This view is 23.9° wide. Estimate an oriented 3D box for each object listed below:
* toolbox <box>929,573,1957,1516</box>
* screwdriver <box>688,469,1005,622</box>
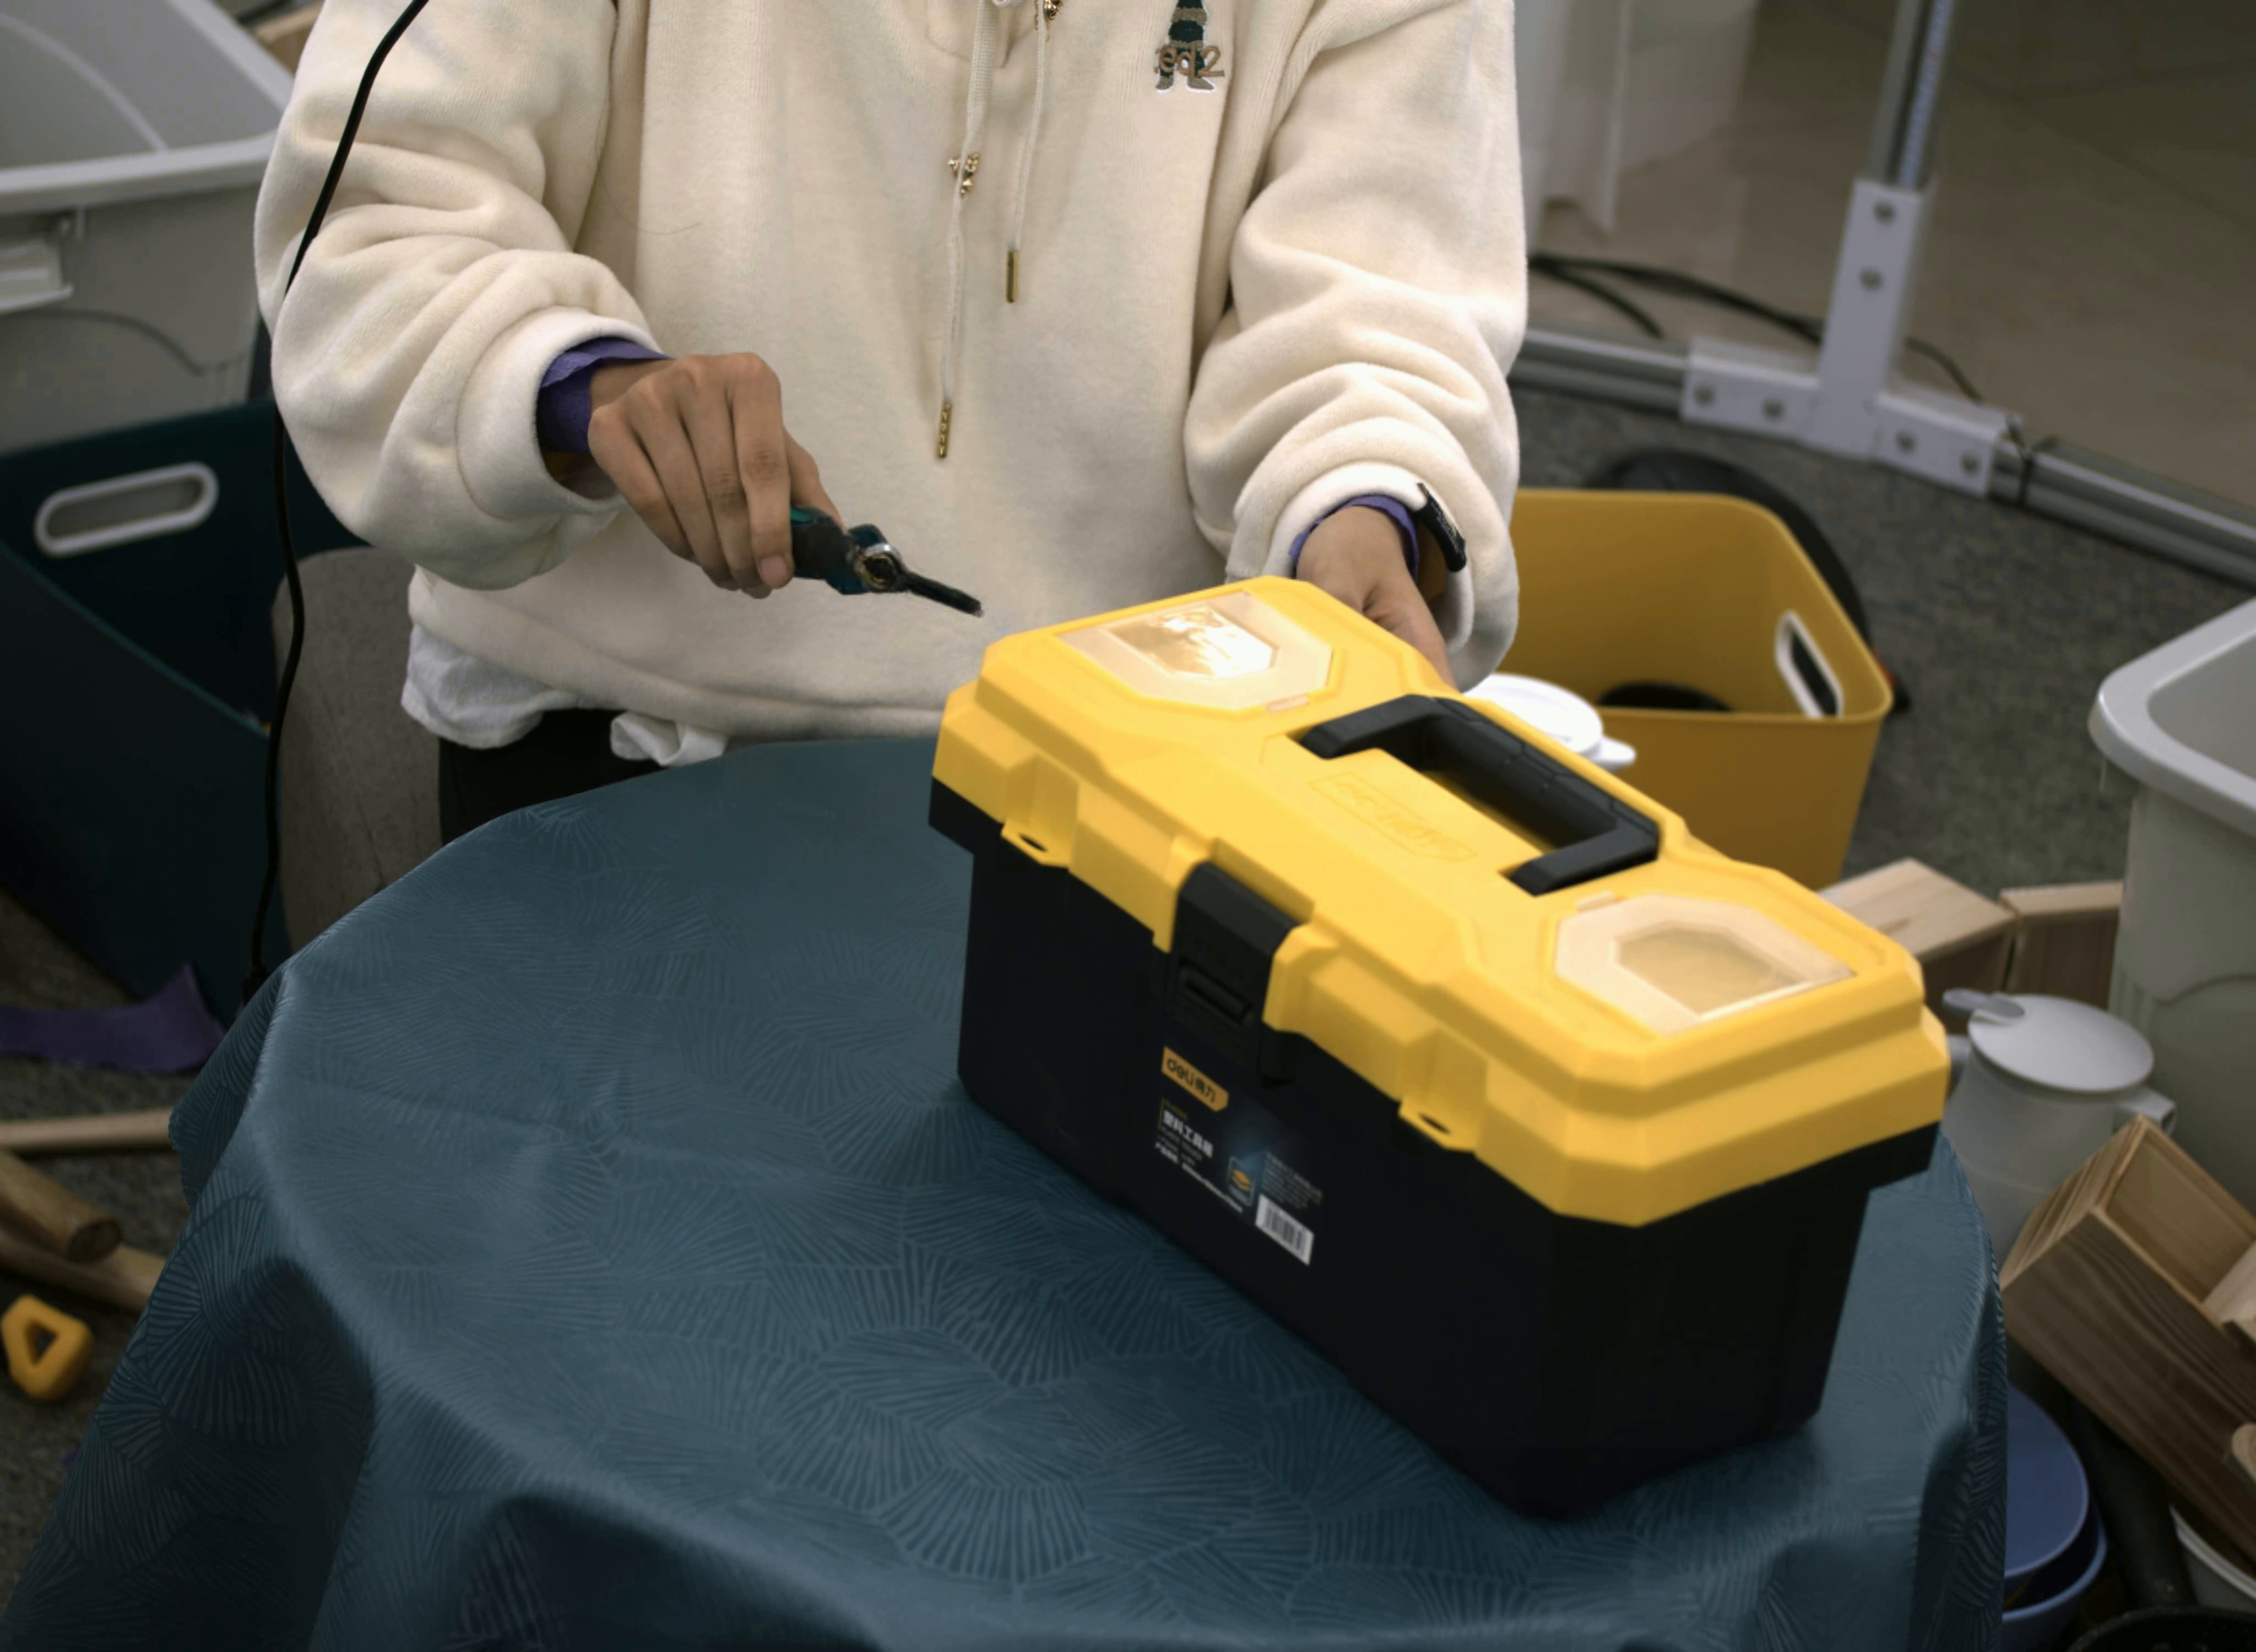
[{"bbox_3d":[0.090,0.065,1.746,0.180,0.172,0.354,-14,33,-35],"label":"toolbox"},{"bbox_3d":[-0.098,-0.095,1.887,0.033,0.033,0.191,-12,22,-34],"label":"screwdriver"}]
